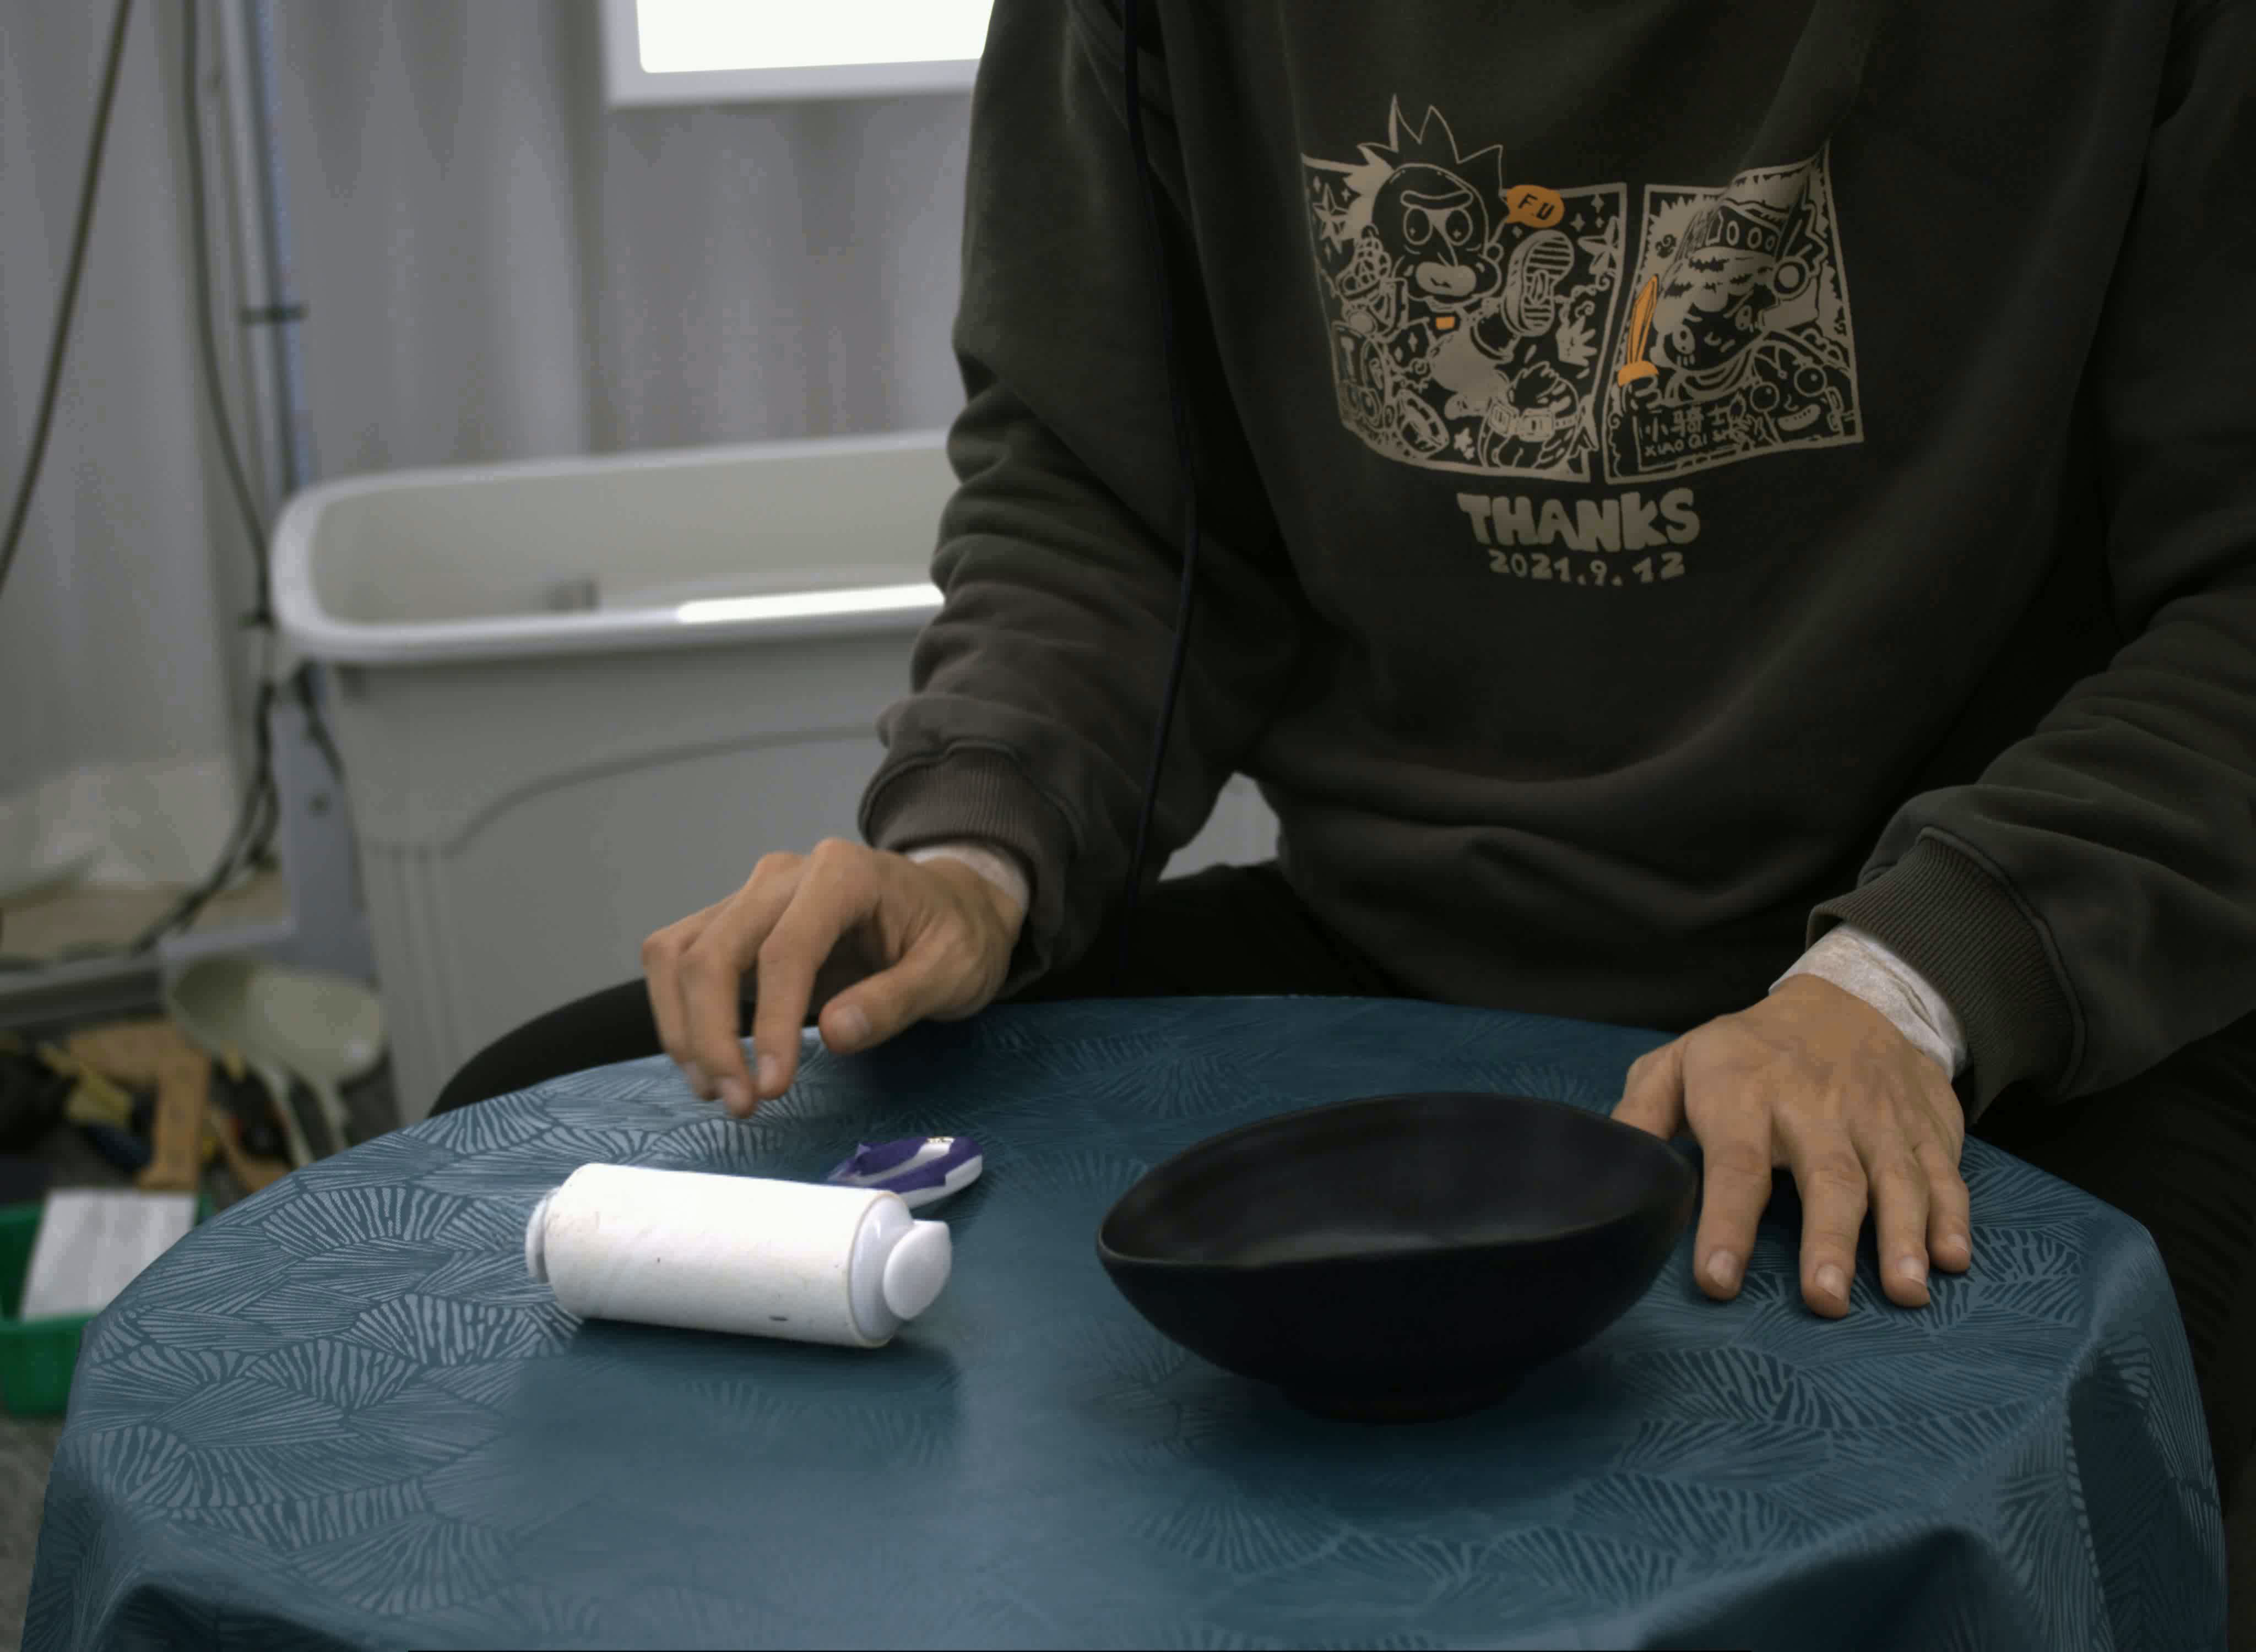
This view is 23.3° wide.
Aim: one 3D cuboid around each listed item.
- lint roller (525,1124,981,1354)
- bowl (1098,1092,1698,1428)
[{"bbox_3d":[-0.089,0.109,1.669,0.133,0.050,0.181,4,19,25],"label":"lint roller"},{"bbox_3d":[0.078,0.128,1.538,0.169,0.066,0.138,-6,14,-6],"label":"bowl"}]
